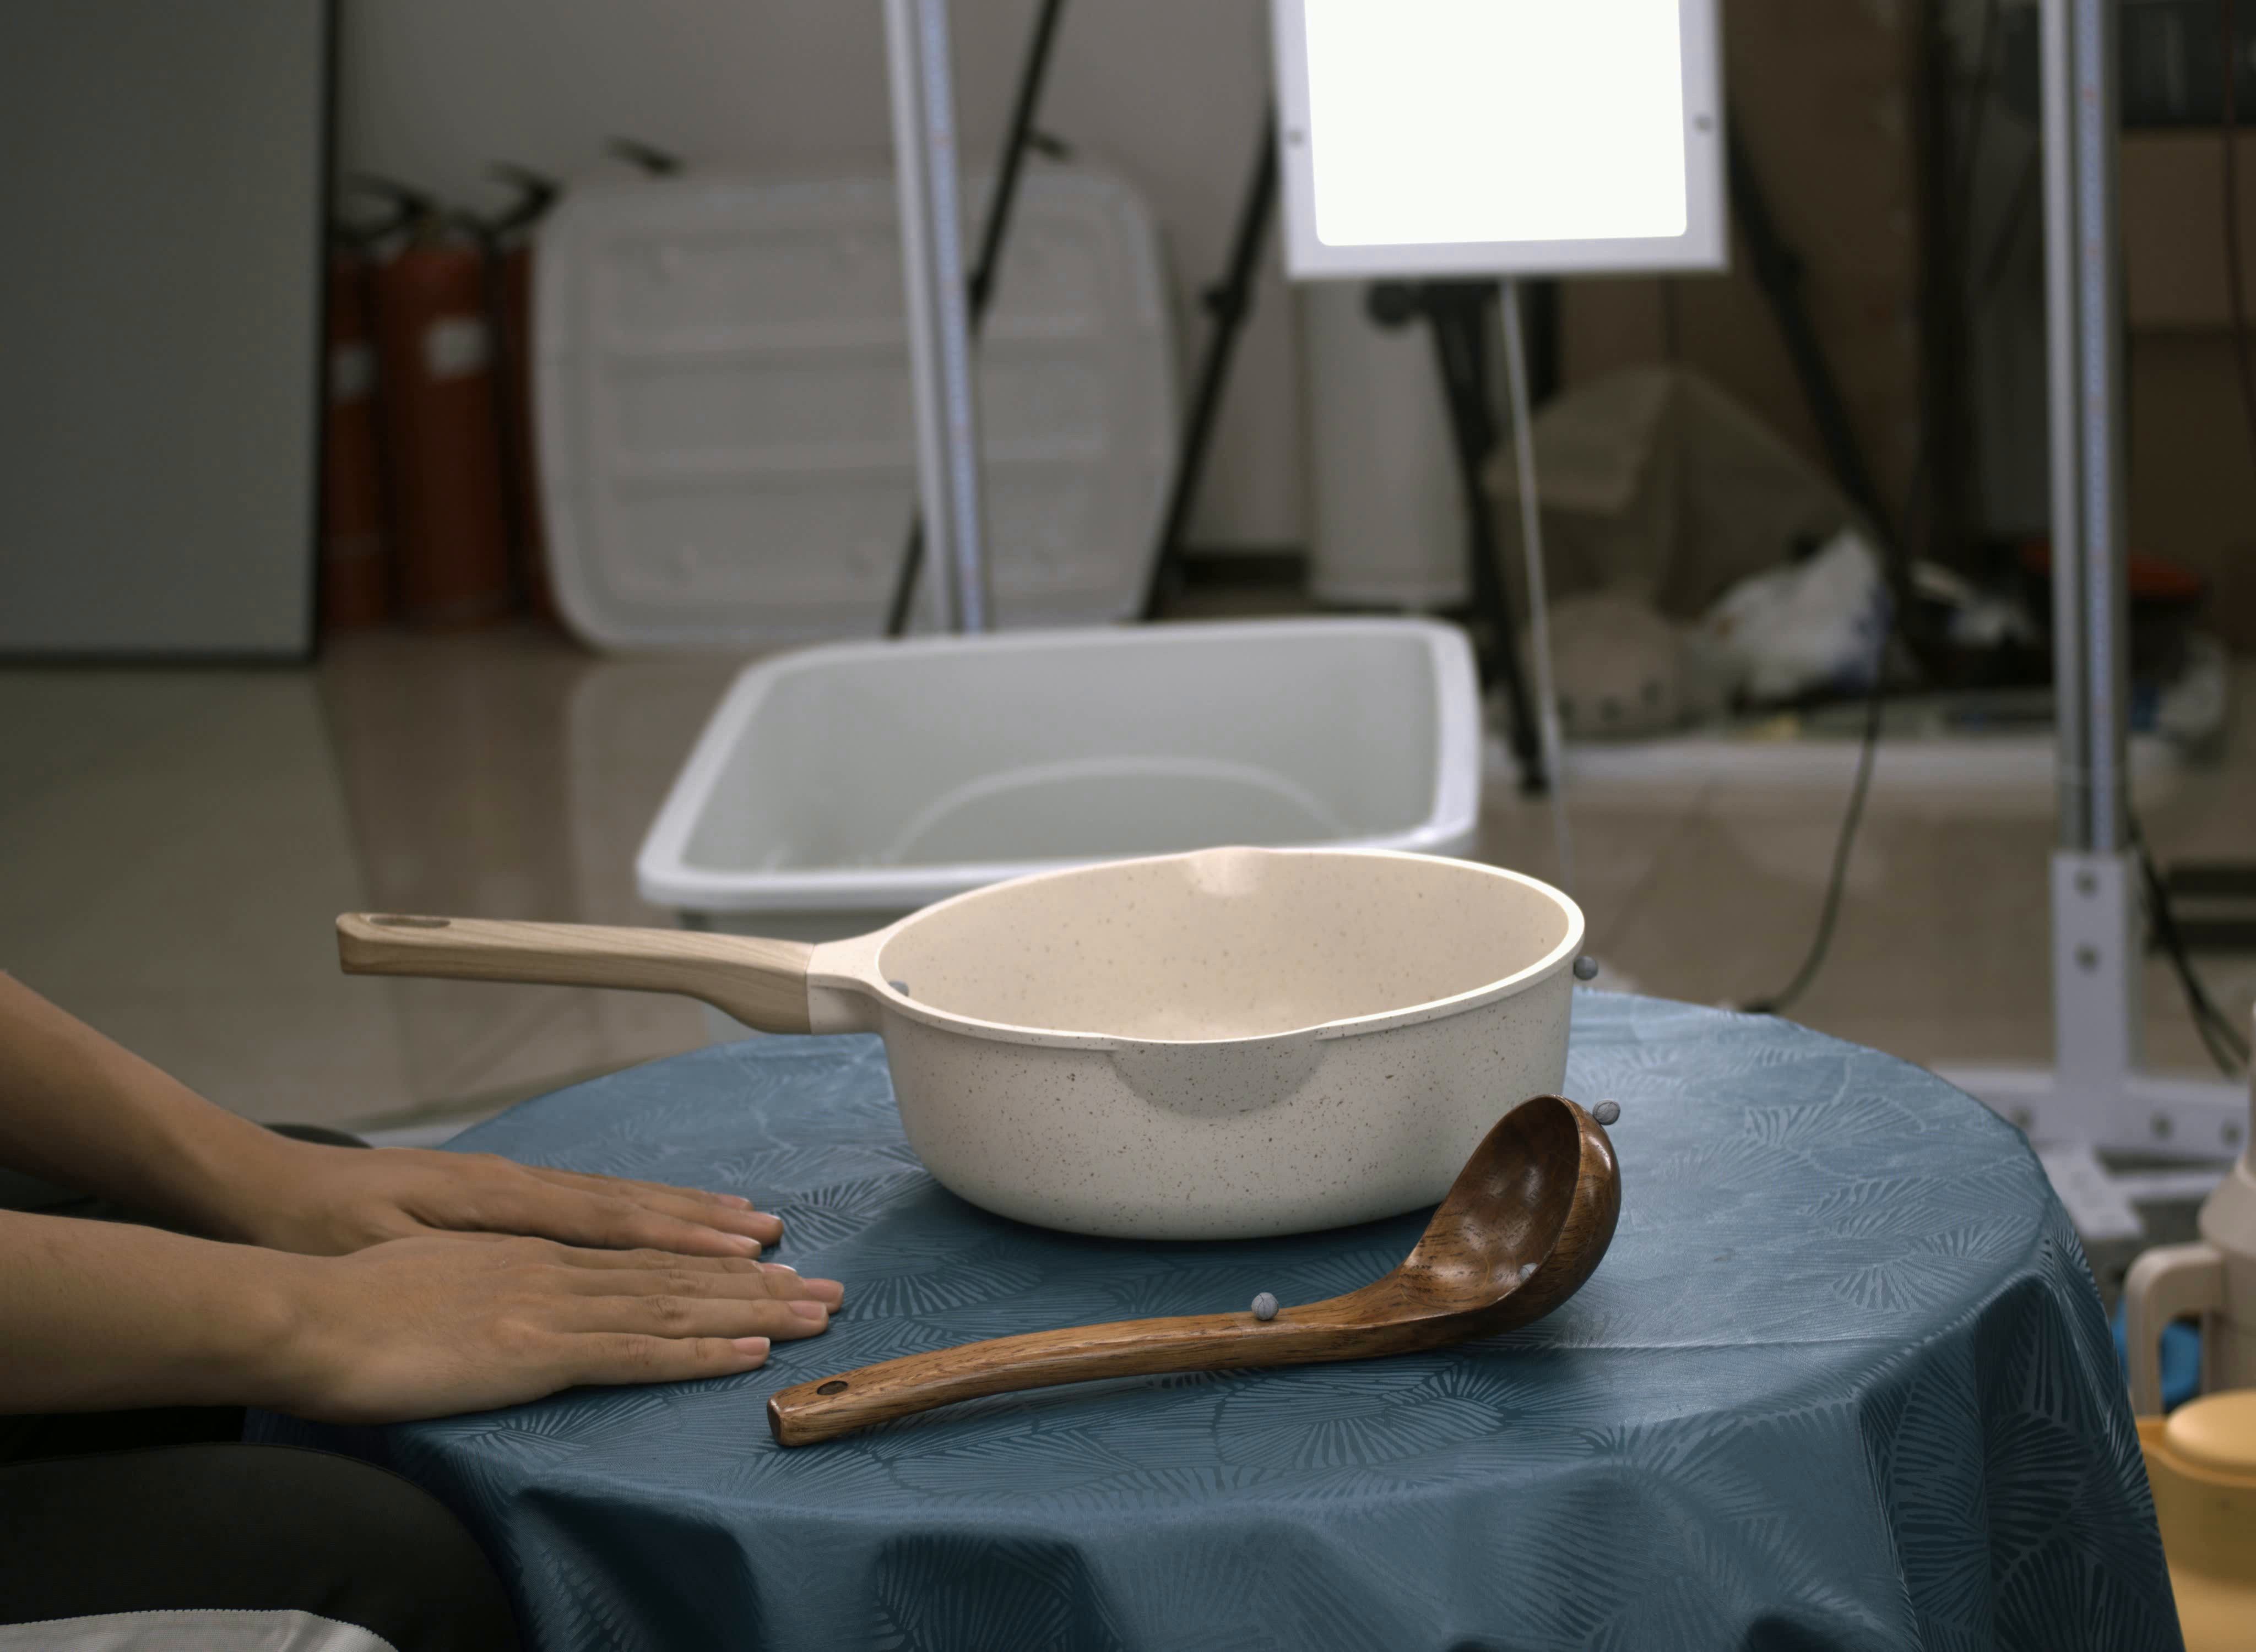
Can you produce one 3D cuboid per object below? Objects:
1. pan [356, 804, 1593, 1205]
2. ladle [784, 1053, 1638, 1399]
[{"bbox_3d":[-0.051,0.063,1.941,0.435,0.102,0.262,-4,15,5],"label":"pan"},{"bbox_3d":[0.027,0.123,1.707,0.271,0.077,0.082,-7,15,-9],"label":"ladle"}]
